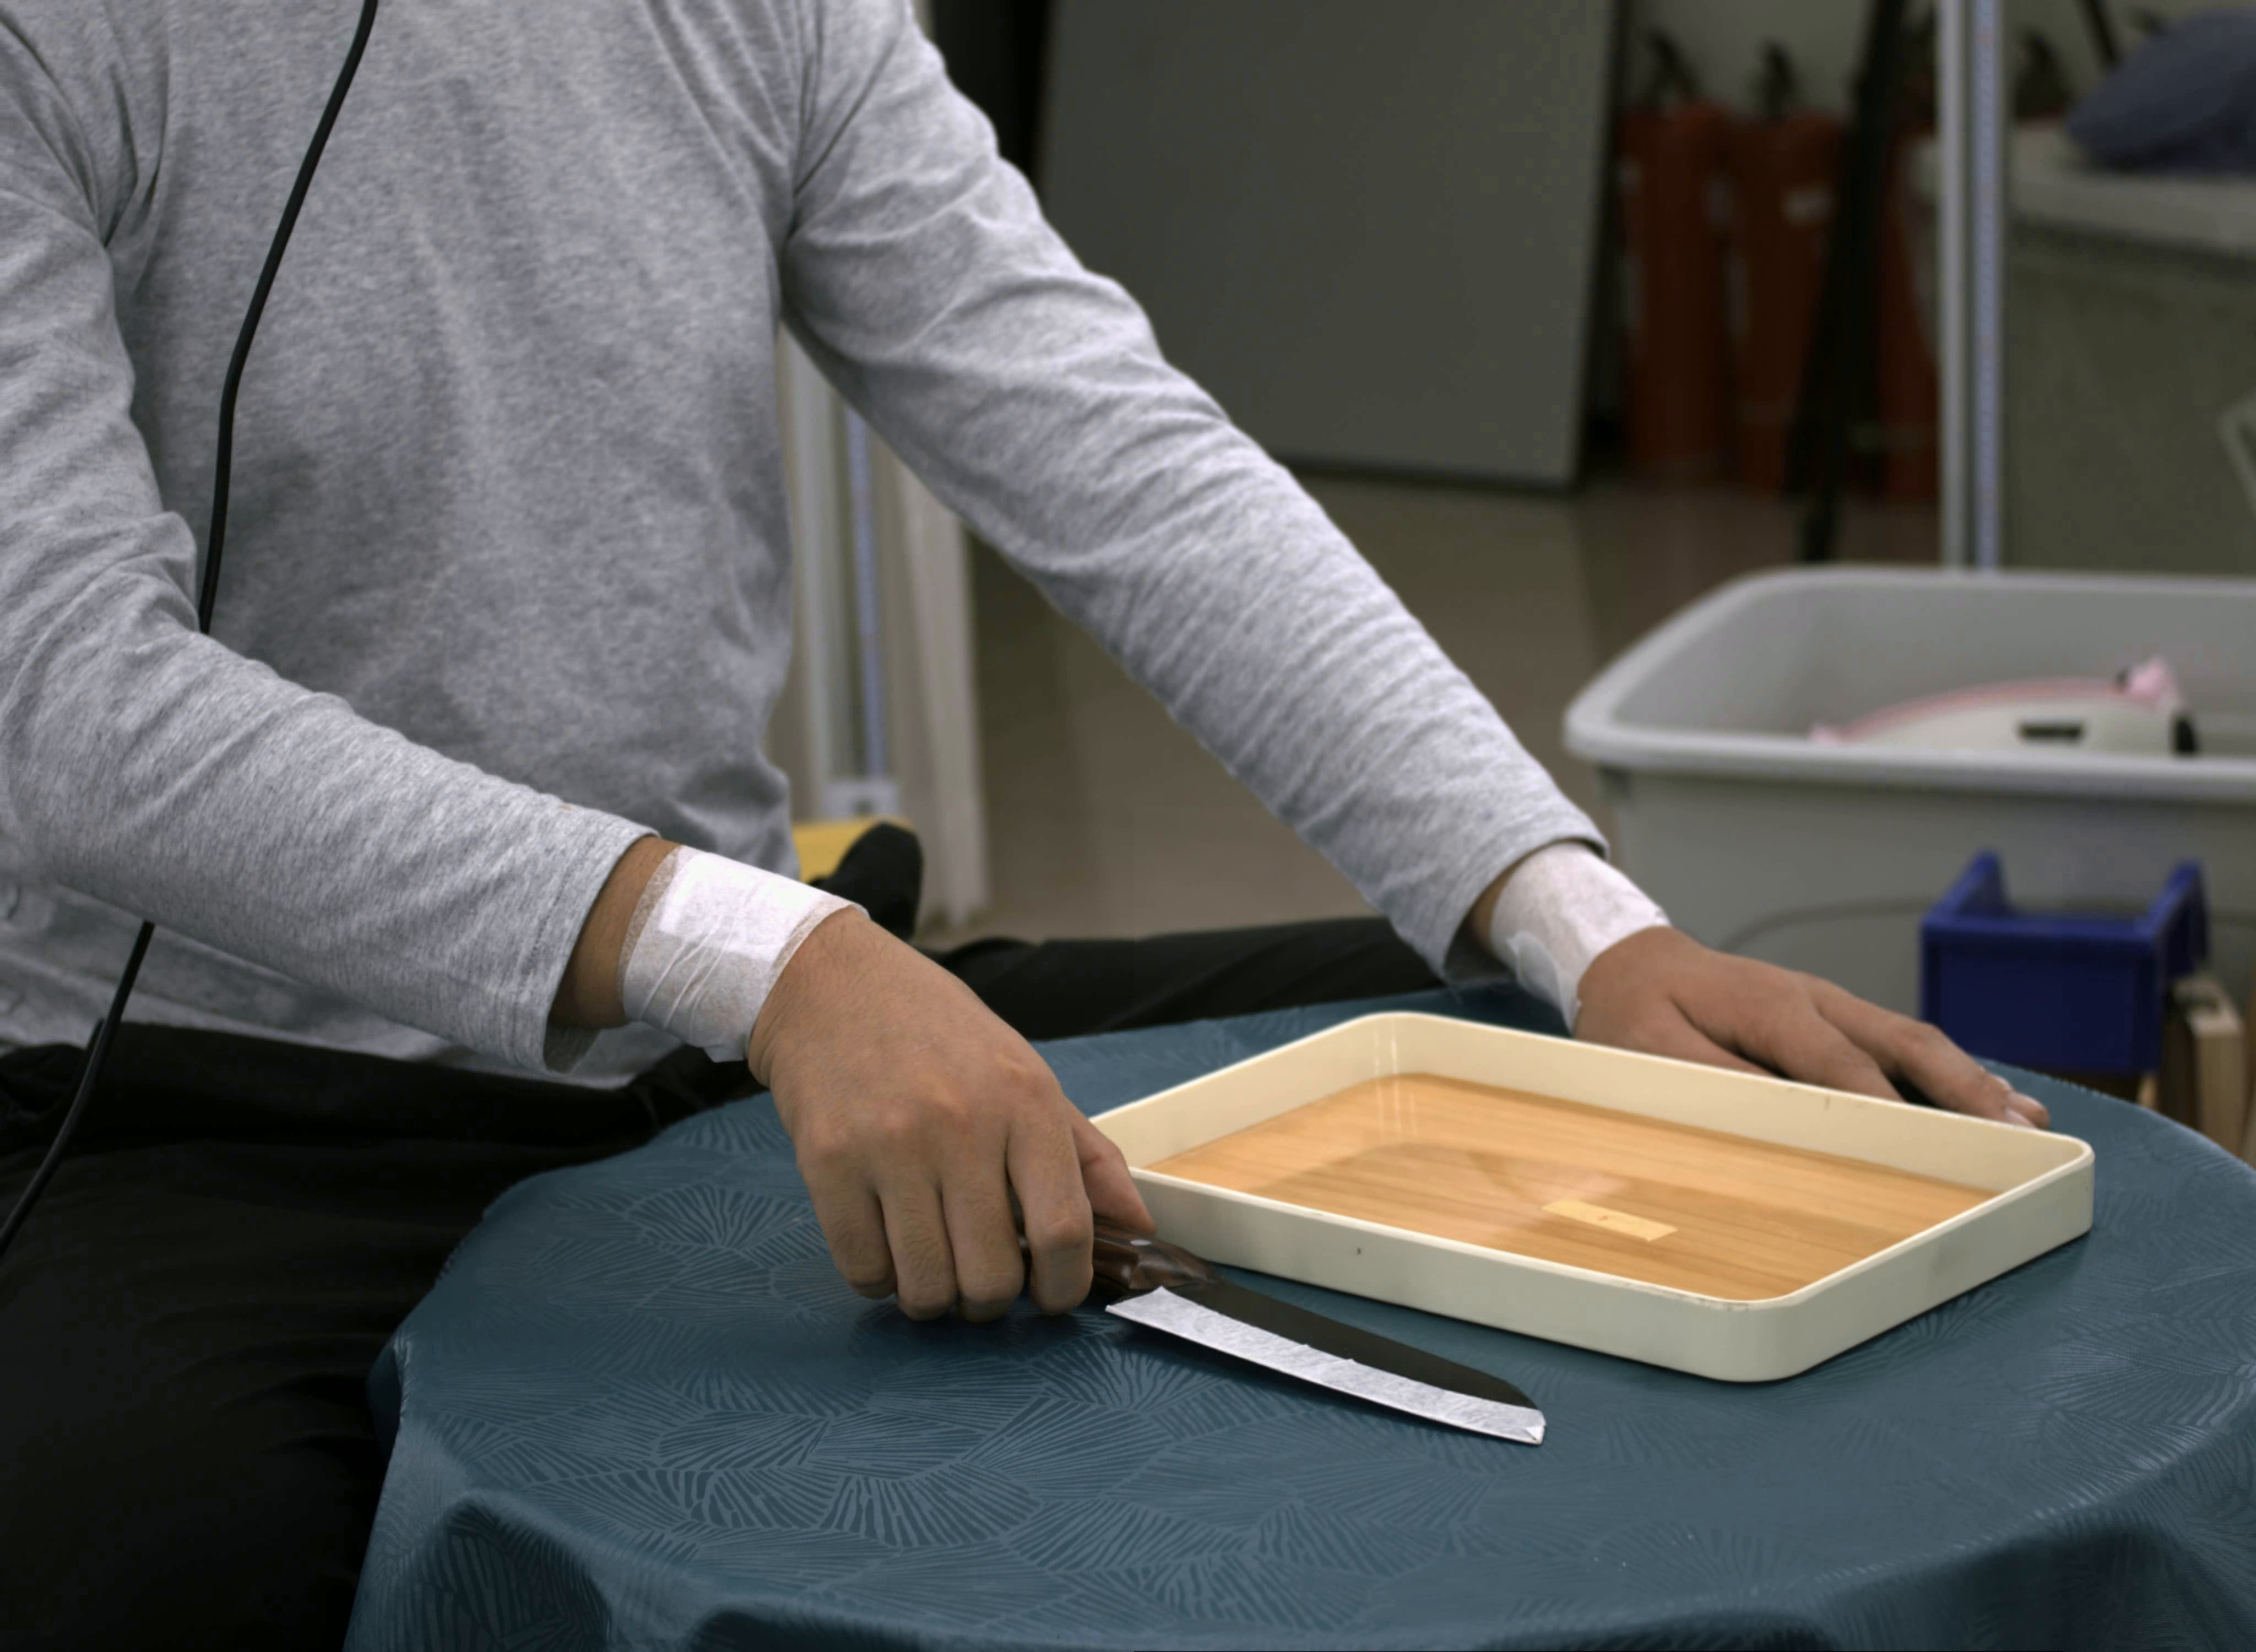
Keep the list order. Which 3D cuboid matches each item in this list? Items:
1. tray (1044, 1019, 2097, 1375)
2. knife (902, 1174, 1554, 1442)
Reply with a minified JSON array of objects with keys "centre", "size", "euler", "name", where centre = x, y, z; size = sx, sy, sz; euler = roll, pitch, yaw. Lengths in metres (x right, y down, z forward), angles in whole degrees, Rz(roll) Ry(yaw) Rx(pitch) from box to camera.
[{"centre":[0.137,0.114,1.709],"size":[0.303,0.028,0.188],"euler":[8,18,43],"name":"tray"},{"centre":[0.026,0.147,1.629],"size":[0.049,0.020,0.292],"euler":[-15,20,-38],"name":"knife"}]
